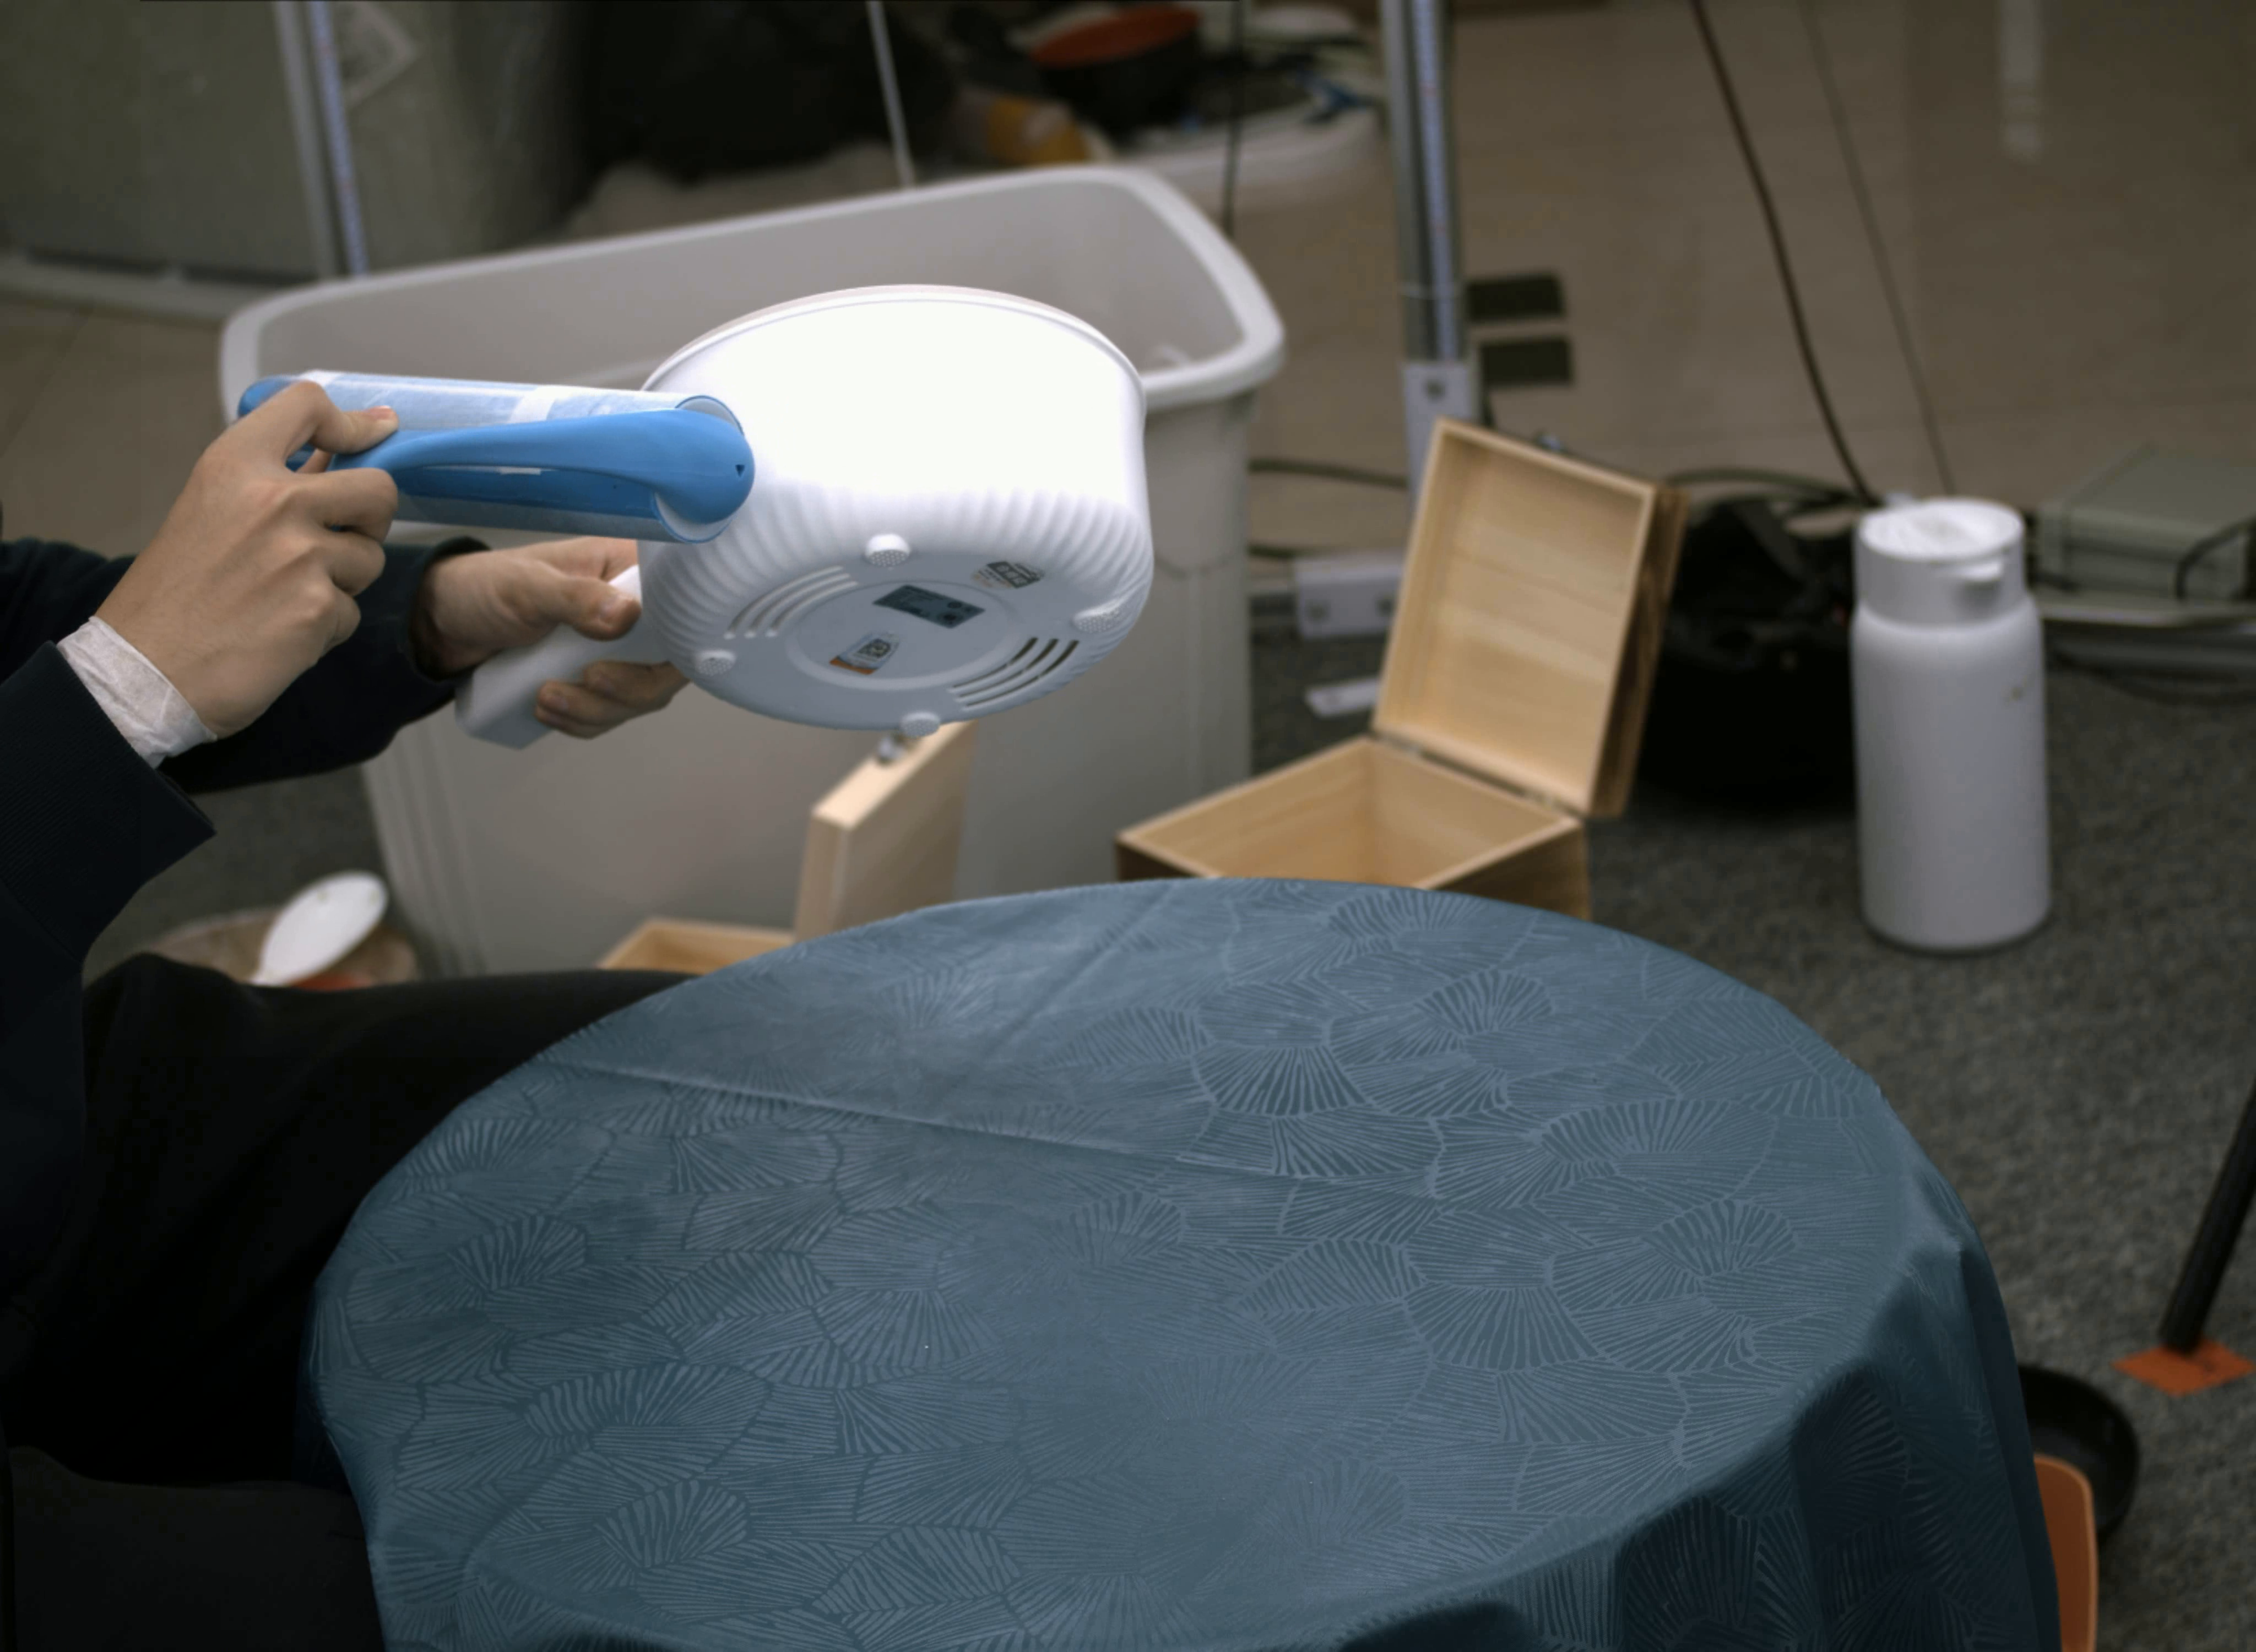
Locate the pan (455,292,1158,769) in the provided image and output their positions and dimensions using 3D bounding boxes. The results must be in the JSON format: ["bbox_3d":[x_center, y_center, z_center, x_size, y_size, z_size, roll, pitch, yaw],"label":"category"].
[{"bbox_3d":[-0.139,-0.079,2.184,0.202,0.101,0.357,14,-33,-41],"label":"pan"}]

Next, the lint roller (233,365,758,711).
[{"bbox_3d":[-0.260,-0.111,2.020,0.228,0.069,0.178,7,33,33],"label":"lint roller"}]
